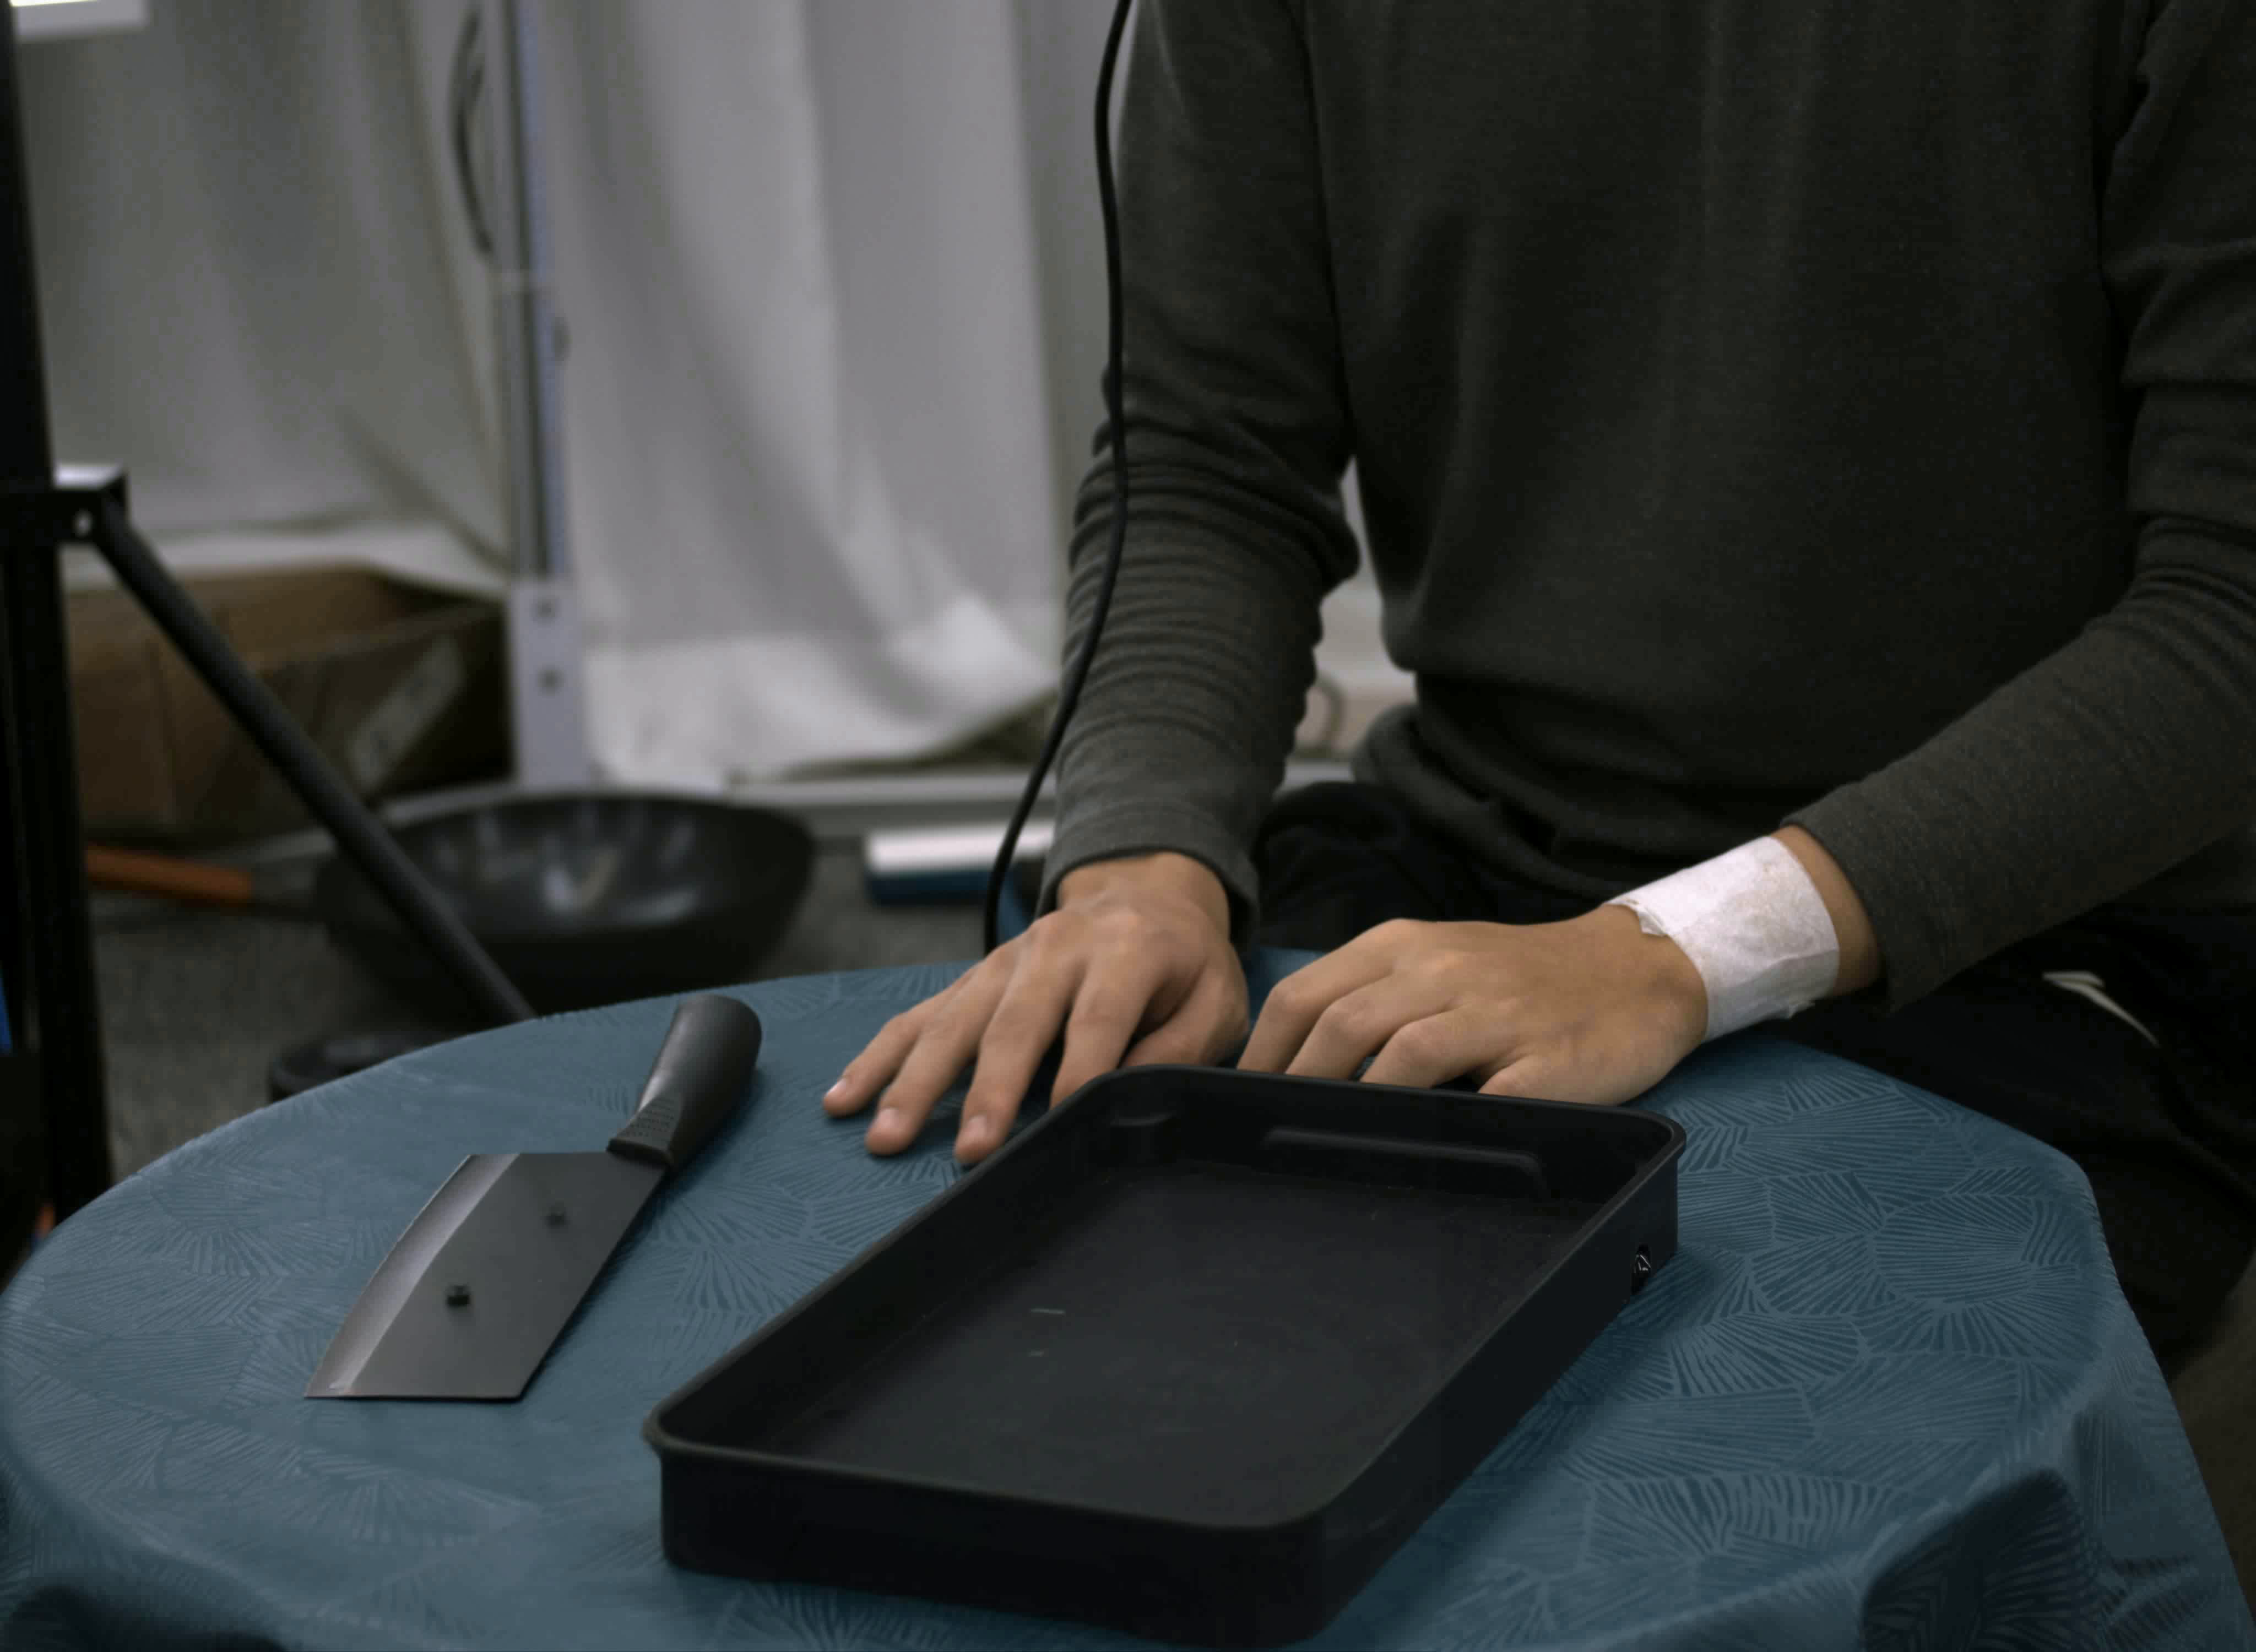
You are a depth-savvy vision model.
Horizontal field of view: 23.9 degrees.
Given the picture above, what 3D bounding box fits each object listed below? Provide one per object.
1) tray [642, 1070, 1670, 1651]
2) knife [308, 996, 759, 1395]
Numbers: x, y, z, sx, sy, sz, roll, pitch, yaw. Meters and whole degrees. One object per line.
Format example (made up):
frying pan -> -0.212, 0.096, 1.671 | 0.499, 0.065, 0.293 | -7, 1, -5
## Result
tray -> 0.017, 0.134, 1.402 | 0.187, 0.037, 0.314 | 4, 17, 22
knife -> -0.166, 0.107, 1.566 | 0.081, 0.021, 0.300 | 0, 18, 14
